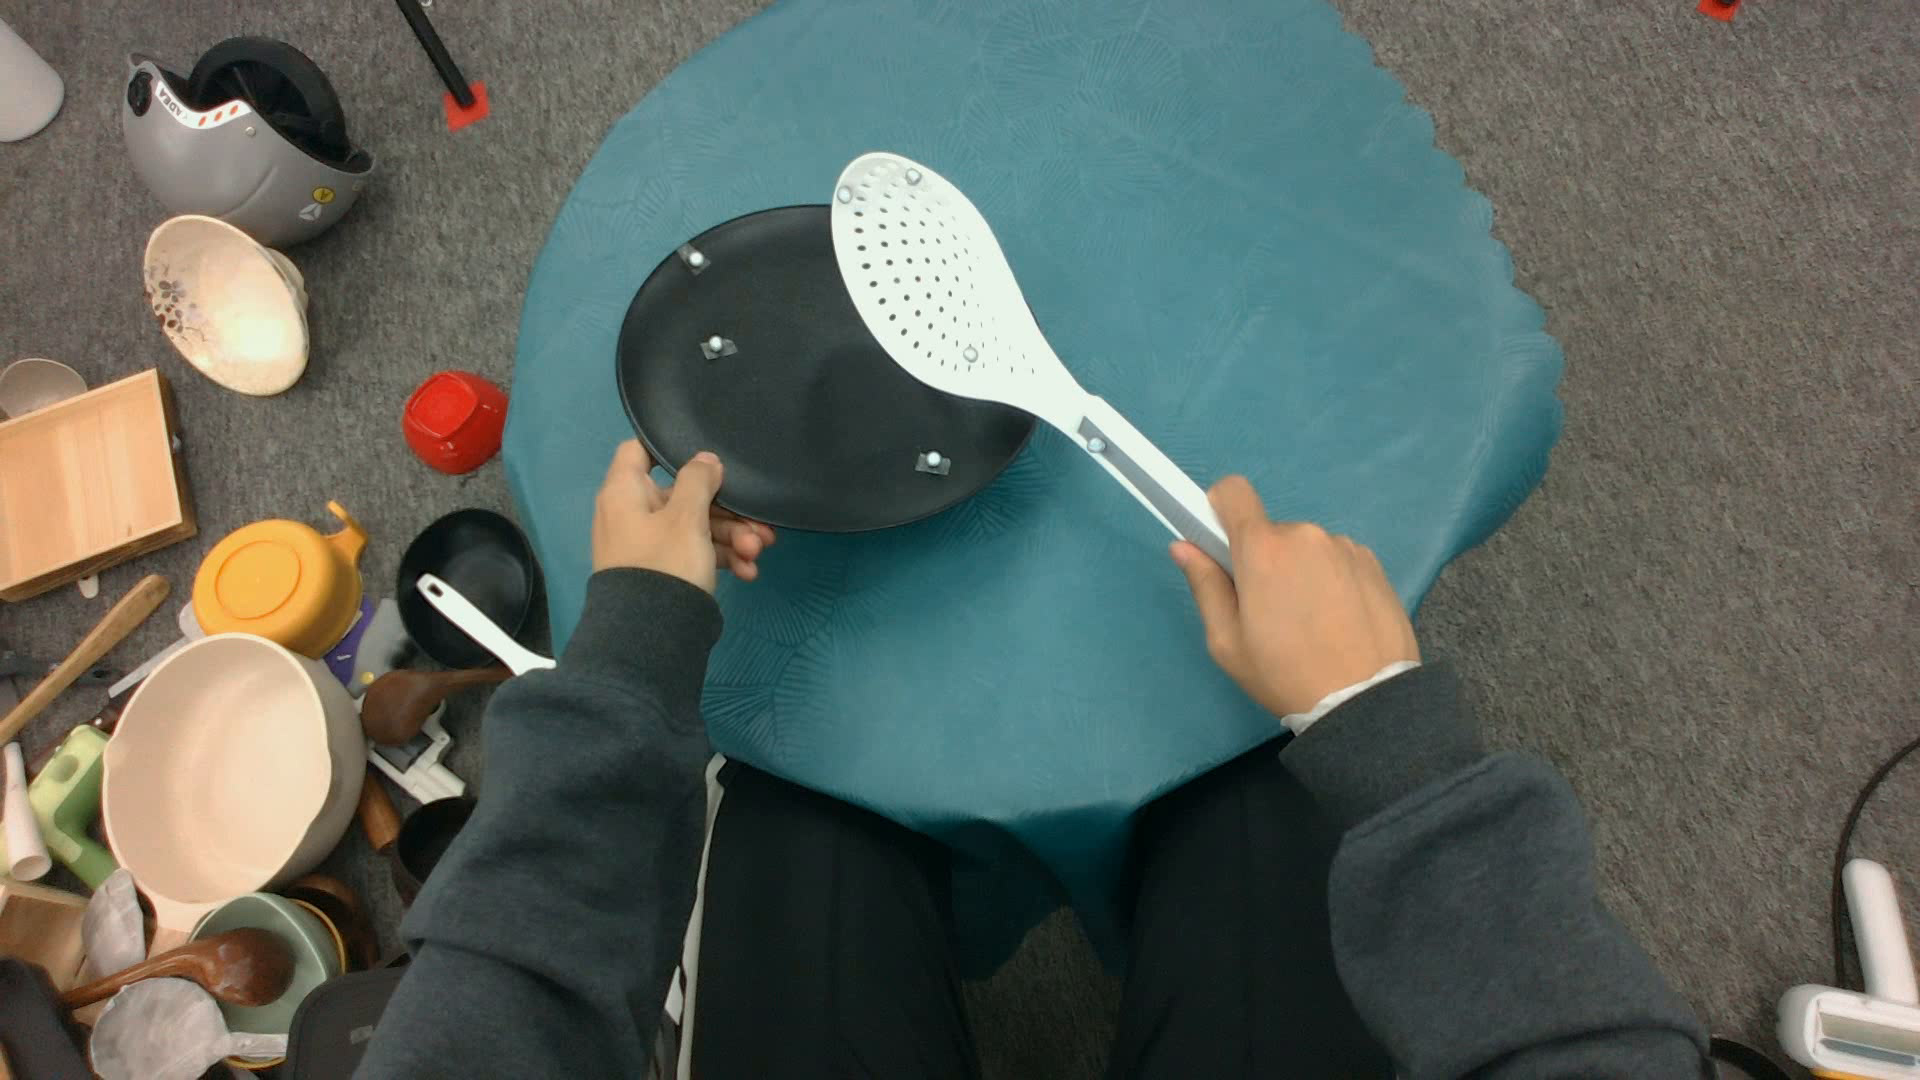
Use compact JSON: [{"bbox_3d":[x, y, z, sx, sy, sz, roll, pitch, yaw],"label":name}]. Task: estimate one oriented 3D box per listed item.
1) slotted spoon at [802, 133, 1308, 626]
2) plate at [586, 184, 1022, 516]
[{"bbox_3d":[0.041,-0.083,0.705,0.046,0.135,0.350,-31,68,-27],"label":"slotted spoon"},{"bbox_3d":[-0.086,-0.111,0.781,0.244,0.023,0.245,4,56,-6],"label":"plate"}]
